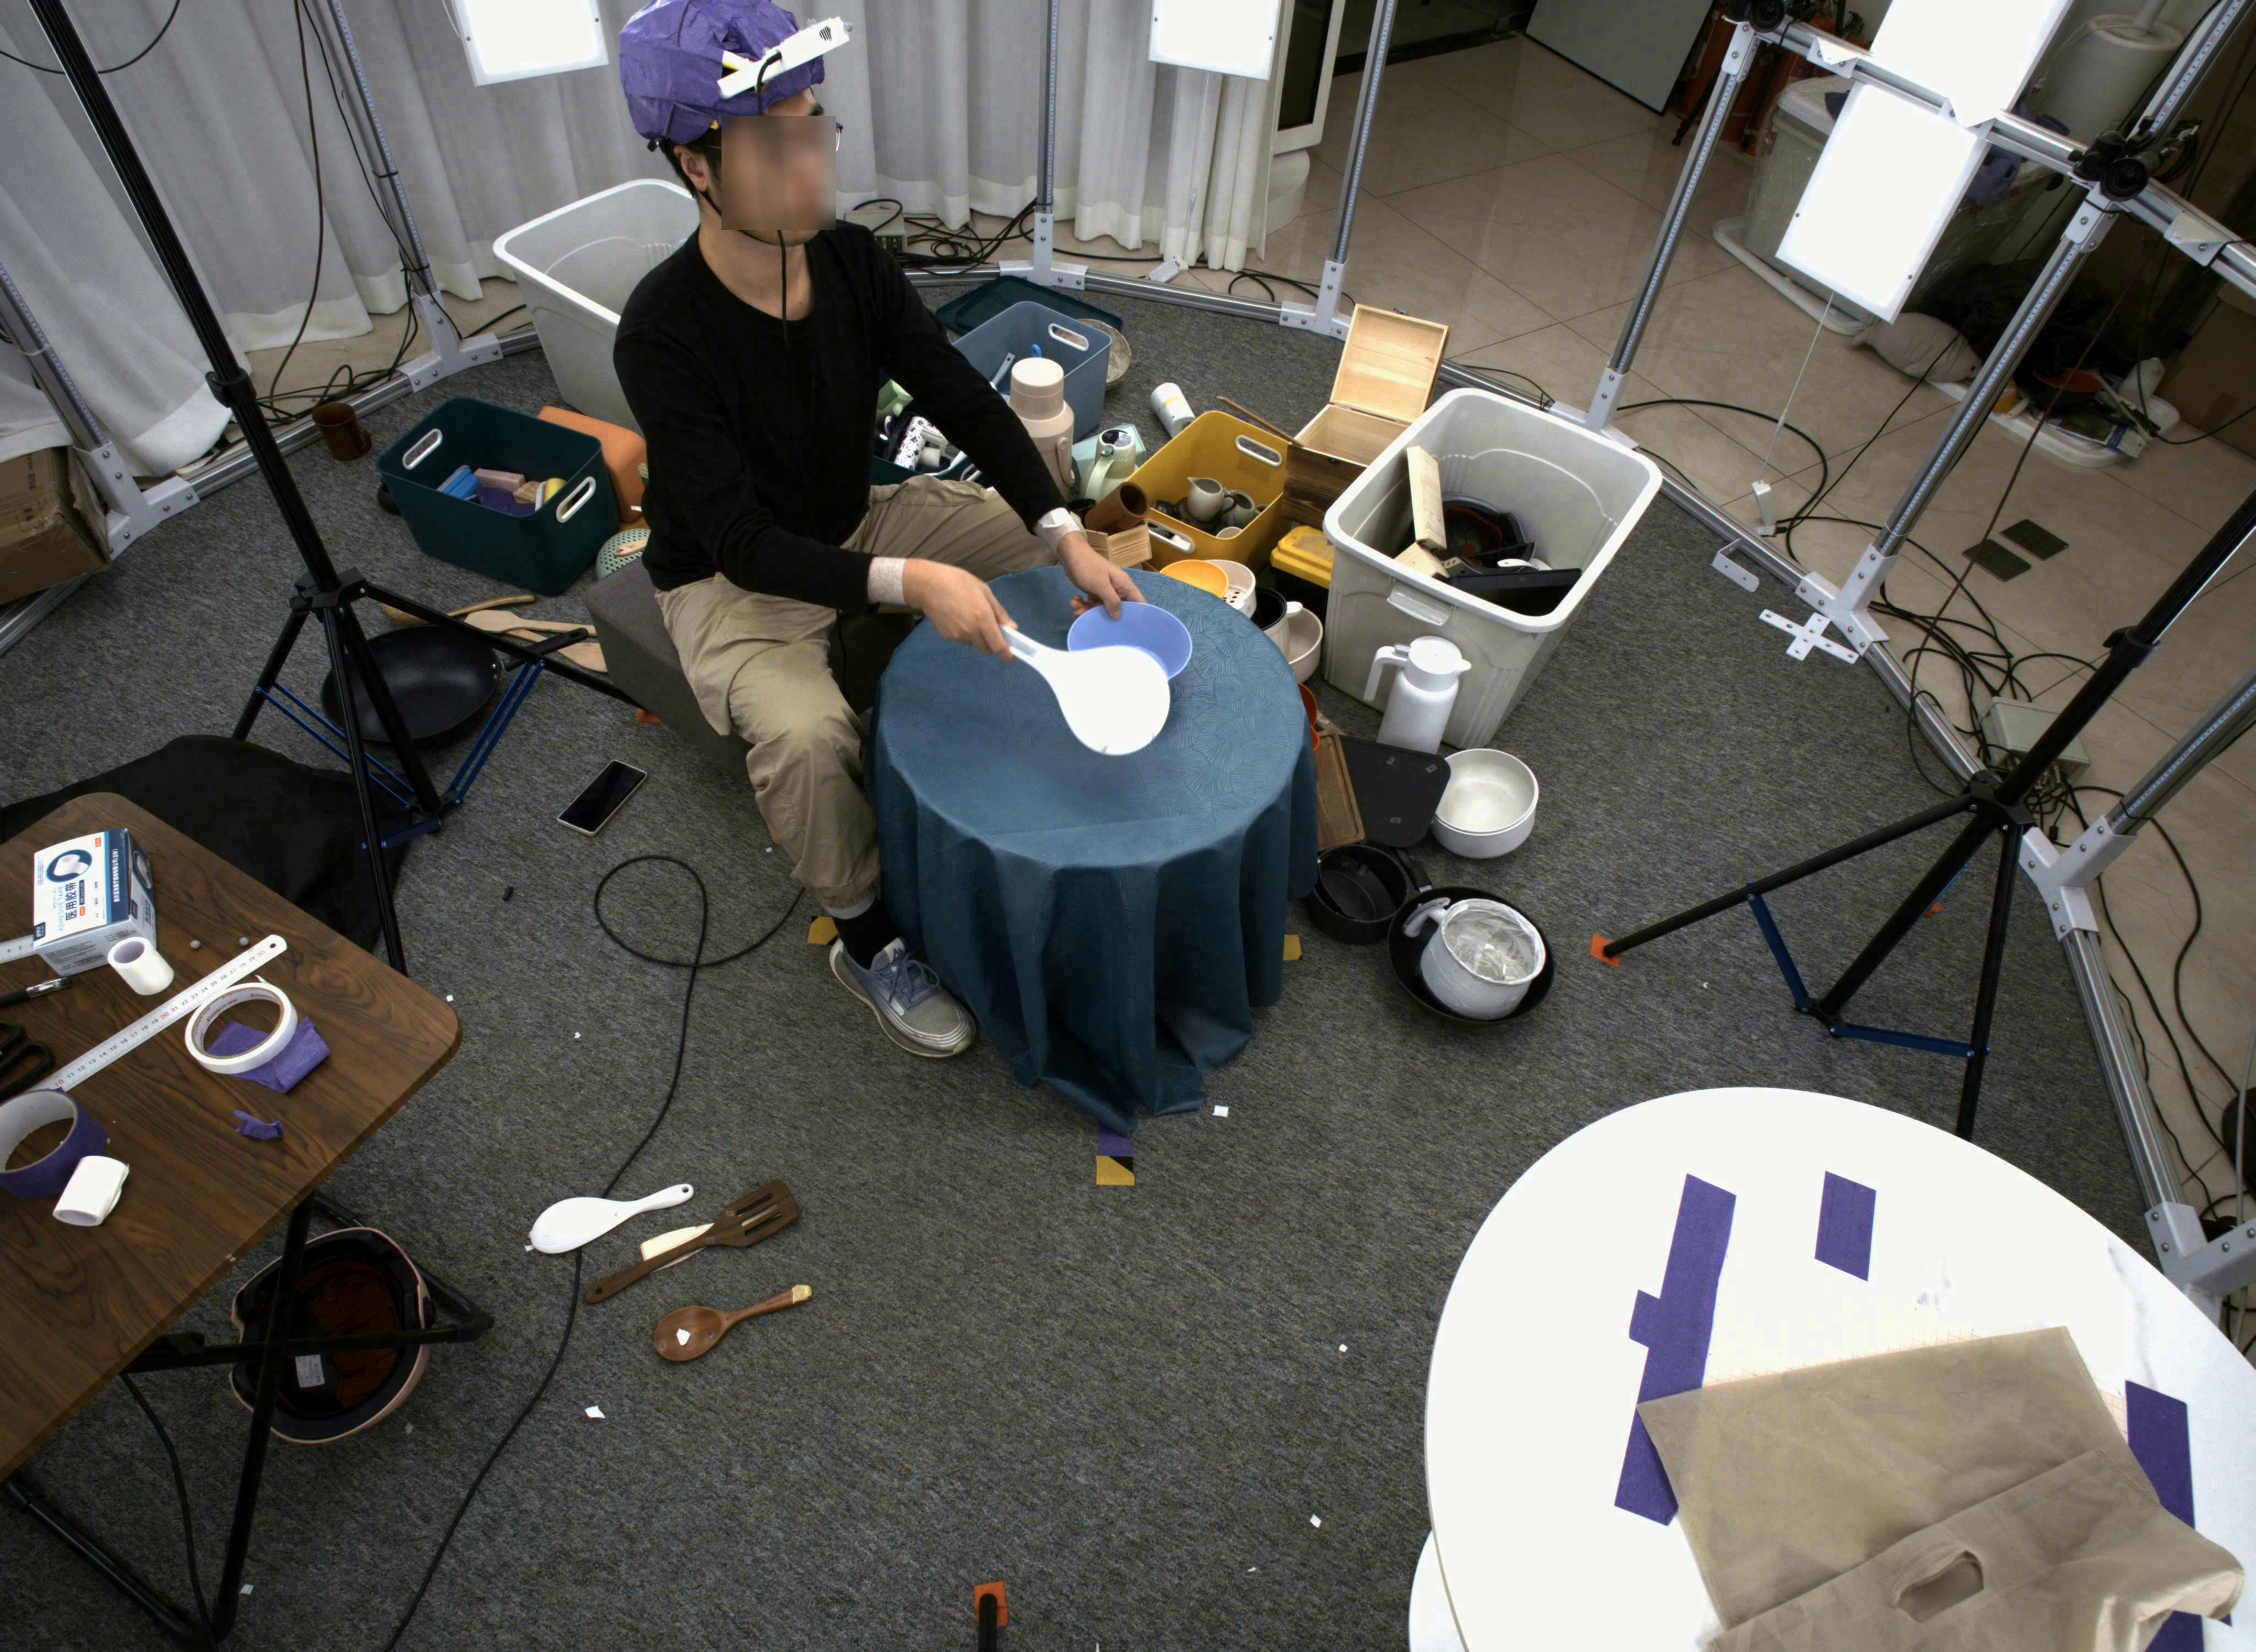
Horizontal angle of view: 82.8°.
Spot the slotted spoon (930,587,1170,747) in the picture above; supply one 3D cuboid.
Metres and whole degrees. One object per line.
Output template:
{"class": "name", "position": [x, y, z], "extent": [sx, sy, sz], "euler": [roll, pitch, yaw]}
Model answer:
{"class": "slotted spoon", "position": [-0.106, -0.221, 1.680], "extent": [0.350, 0.045, 0.136], "euler": [29, 90, 5]}

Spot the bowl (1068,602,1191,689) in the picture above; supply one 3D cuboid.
{"class": "bowl", "position": [0.000, -0.239, 1.831], "extent": [0.176, 0.068, 0.180], "euler": [2, 48, -3]}
